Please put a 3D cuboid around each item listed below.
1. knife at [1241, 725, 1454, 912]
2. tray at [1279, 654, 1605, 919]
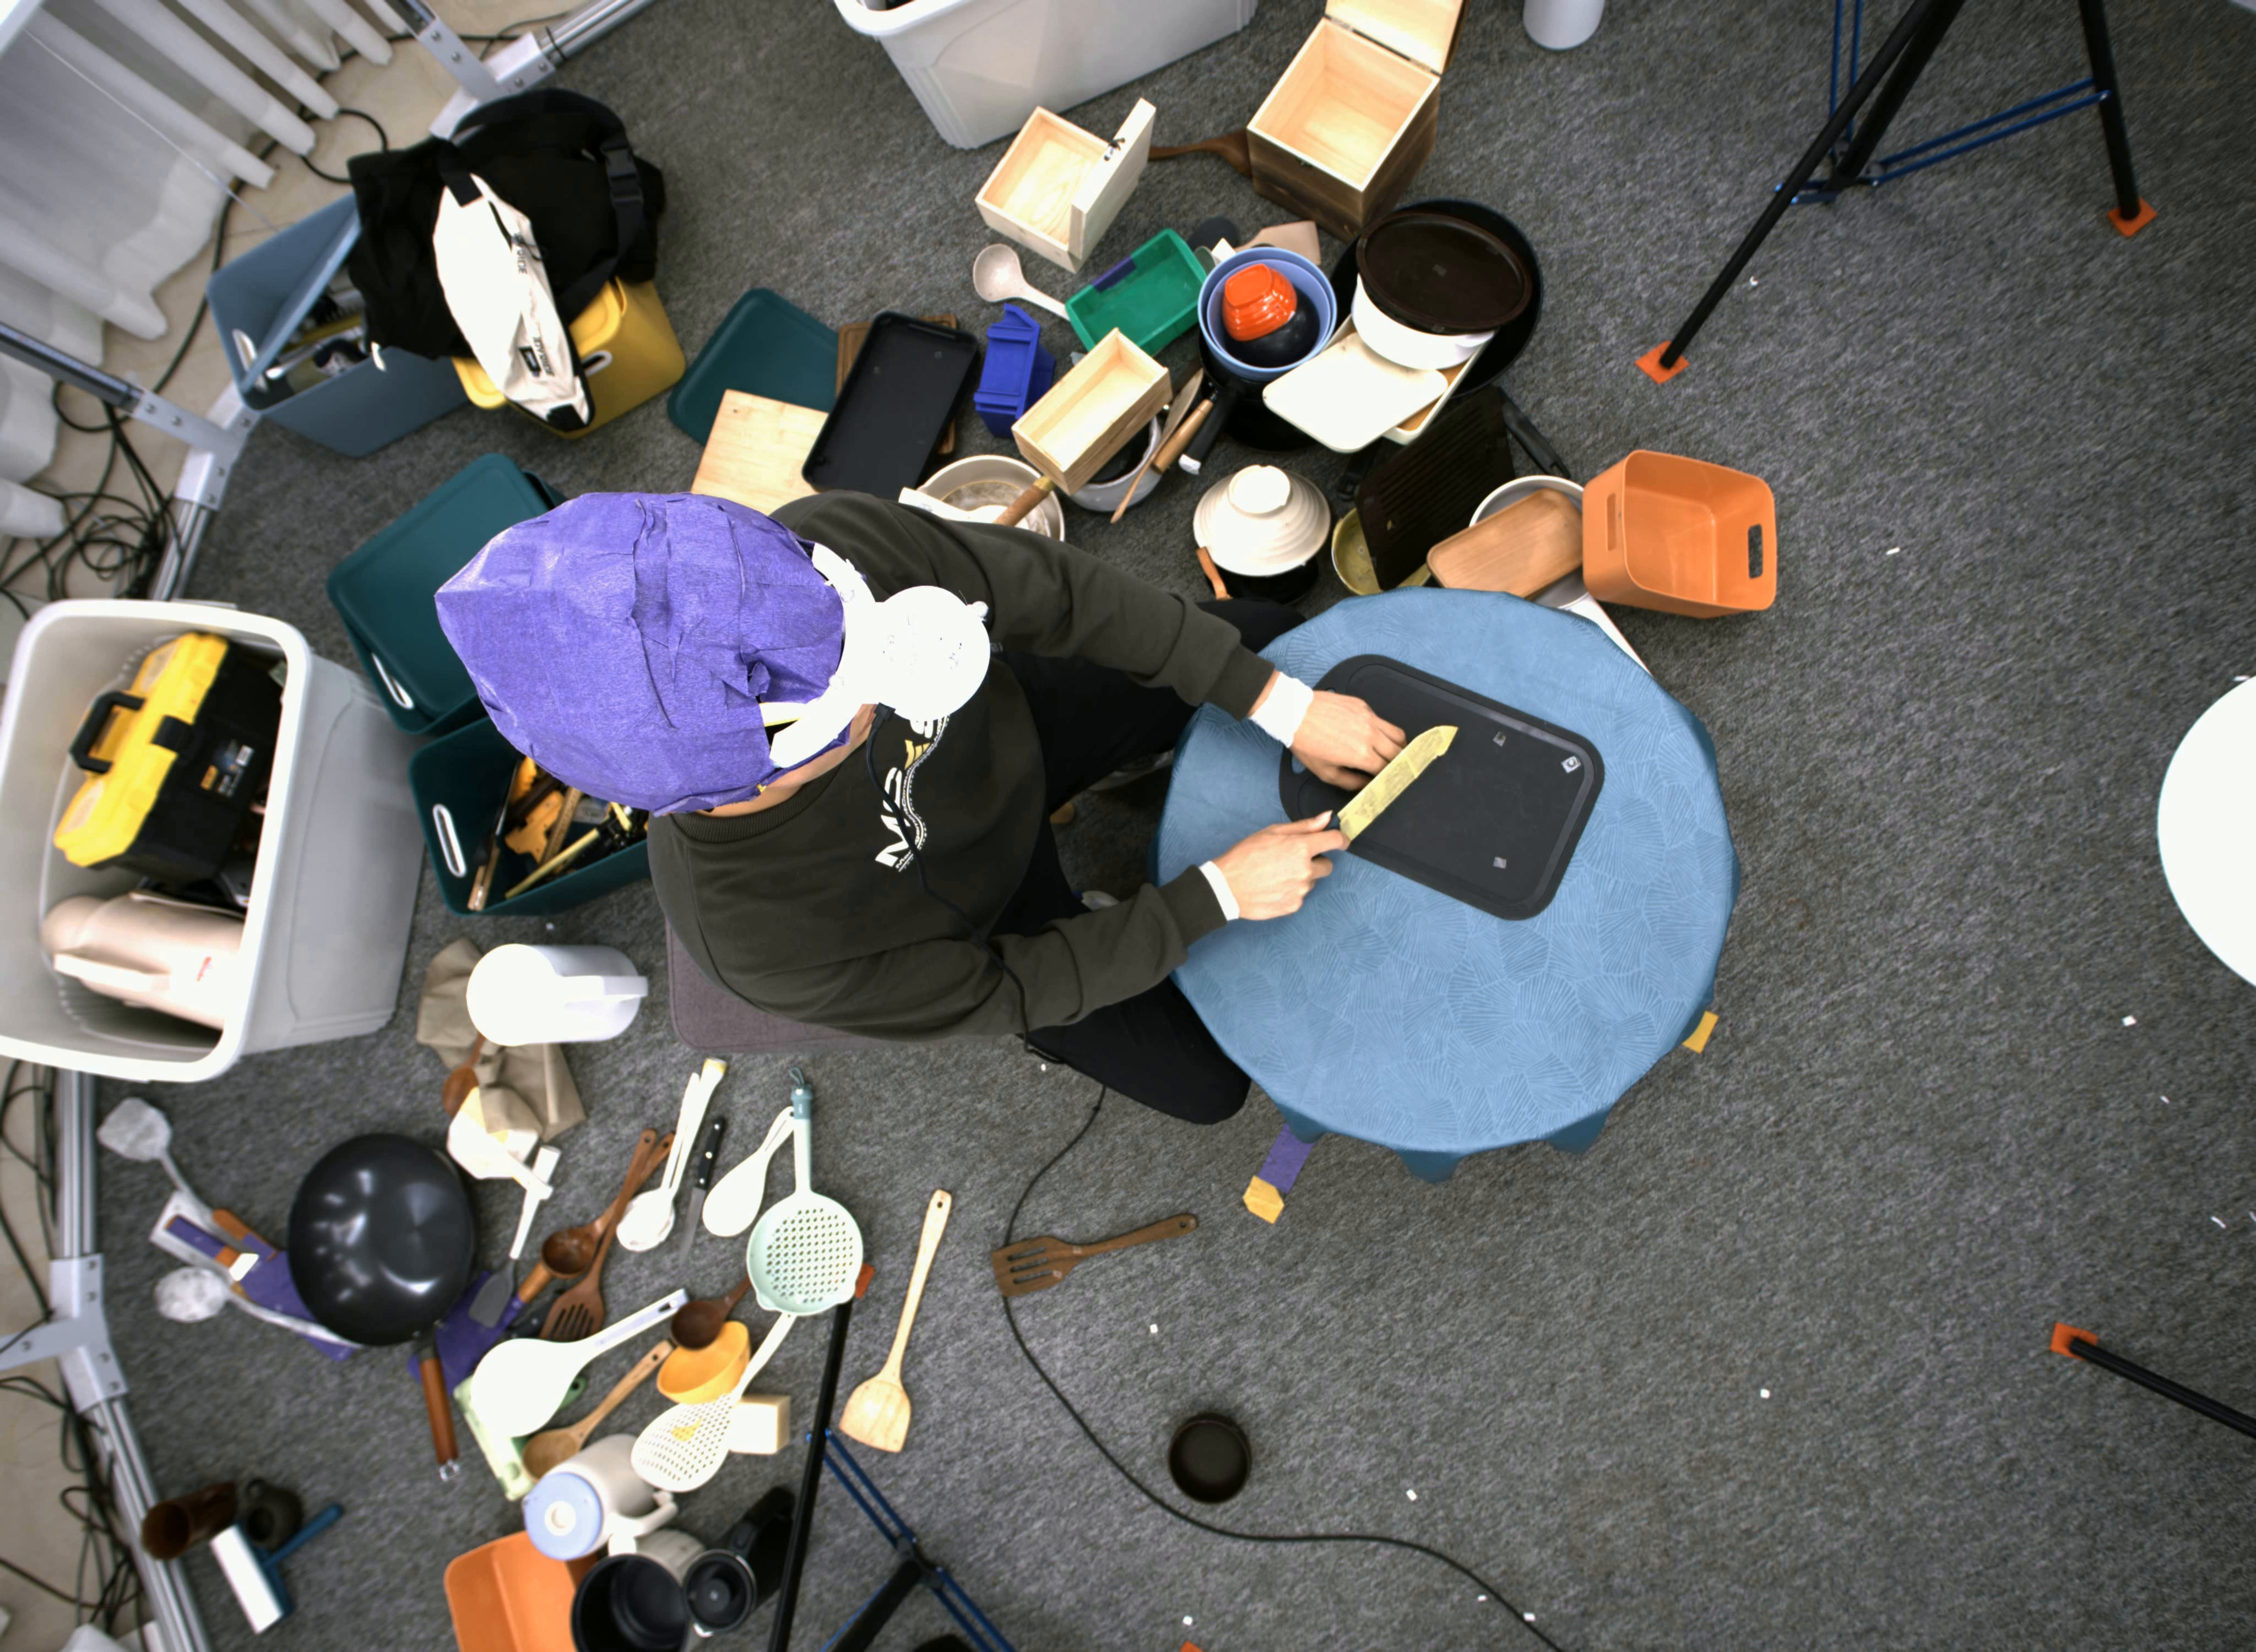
[{"bbox_3d":[0.231,-0.009,1.430,0.290,0.082,0.027,-42,59,3],"label":"knife"},{"bbox_3d":[0.322,-0.049,1.453,0.325,0.010,0.211,24,91,11],"label":"tray"}]
